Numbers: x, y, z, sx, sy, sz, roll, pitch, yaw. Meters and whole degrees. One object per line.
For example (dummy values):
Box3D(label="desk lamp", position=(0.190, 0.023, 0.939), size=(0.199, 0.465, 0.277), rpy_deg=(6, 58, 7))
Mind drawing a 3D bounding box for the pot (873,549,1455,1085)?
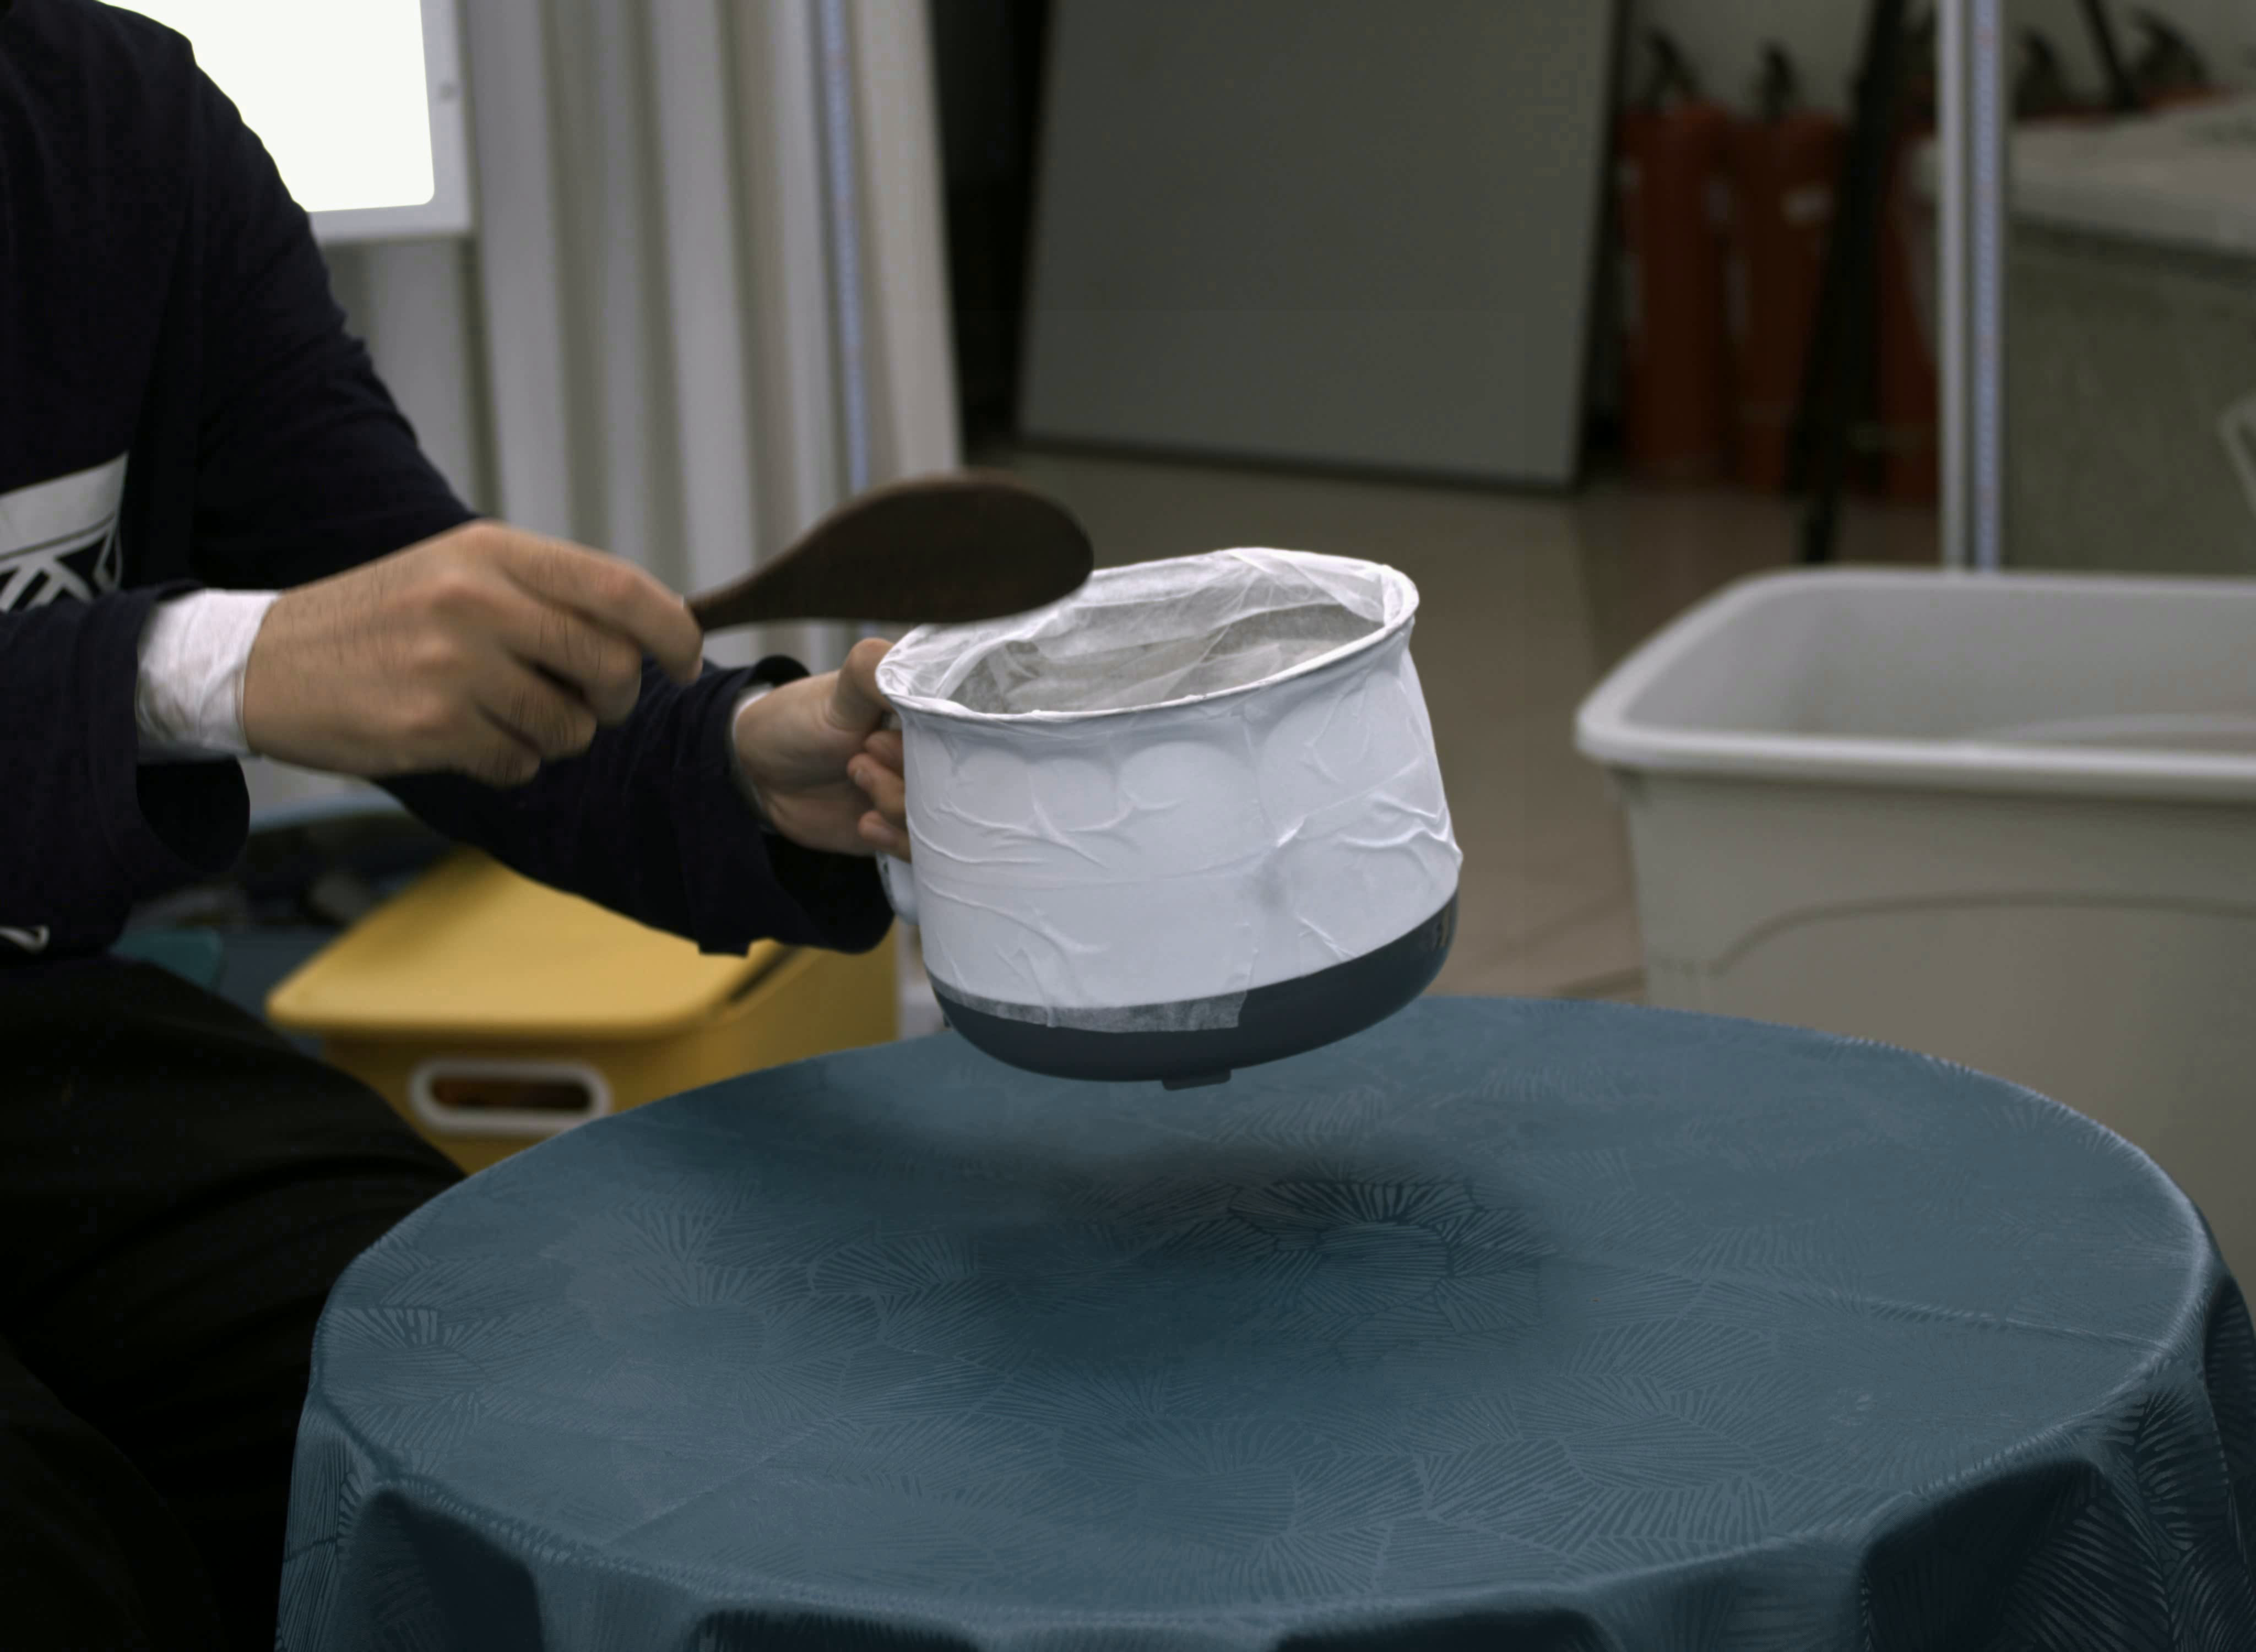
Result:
Box3D(label="pot", position=(-0.004, -0.008, 1.757), size=(0.175, 0.138, 0.236), rpy_deg=(-20, 20, -40))

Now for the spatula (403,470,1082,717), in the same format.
Box3D(label="spatula", position=(-0.115, -0.062, 1.598), size=(0.215, 0.071, 0.009), rpy_deg=(-15, 52, 15))
